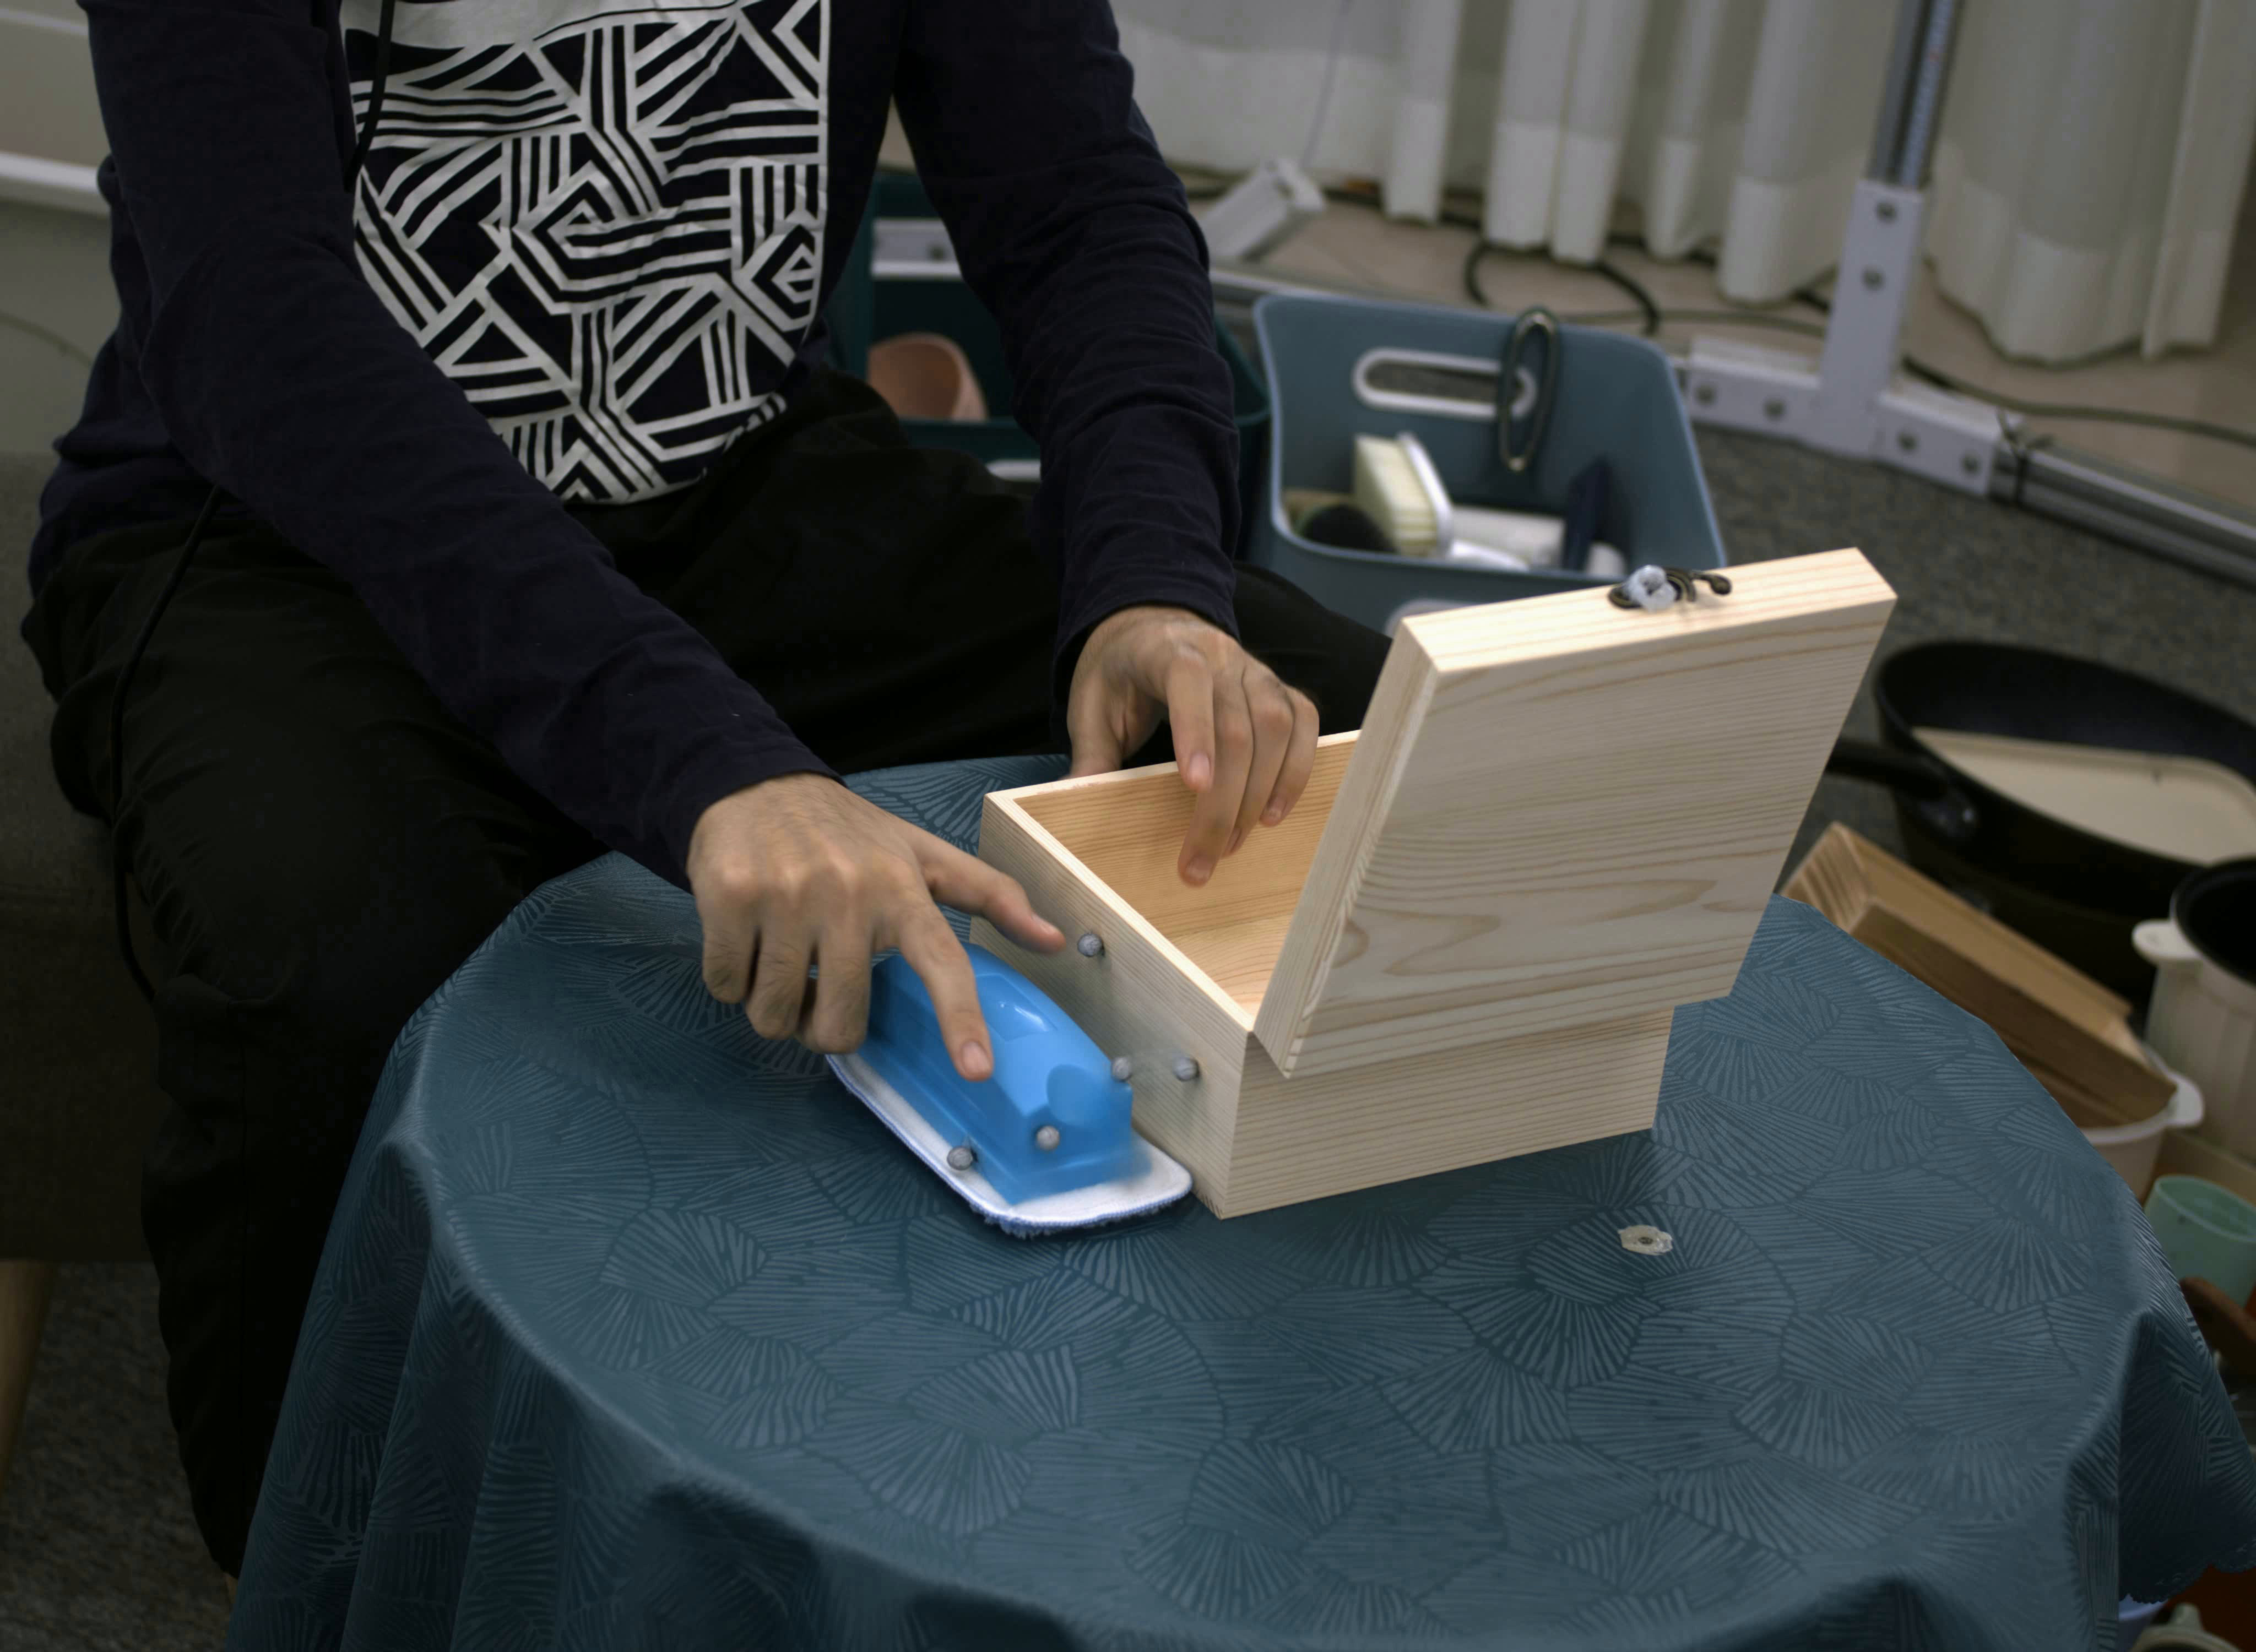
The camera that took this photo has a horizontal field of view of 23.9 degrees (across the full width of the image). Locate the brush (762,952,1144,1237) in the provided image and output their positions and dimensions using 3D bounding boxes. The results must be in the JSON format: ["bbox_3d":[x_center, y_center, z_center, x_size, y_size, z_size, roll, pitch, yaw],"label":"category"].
[{"bbox_3d":[-0.056,0.087,1.809,0.083,0.056,0.145,-5,31,-41],"label":"brush"}]

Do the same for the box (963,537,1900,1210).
[{"bbox_3d":[0.093,-0.016,1.824,0.180,0.252,0.267,-9,31,-30],"label":"box"}]
